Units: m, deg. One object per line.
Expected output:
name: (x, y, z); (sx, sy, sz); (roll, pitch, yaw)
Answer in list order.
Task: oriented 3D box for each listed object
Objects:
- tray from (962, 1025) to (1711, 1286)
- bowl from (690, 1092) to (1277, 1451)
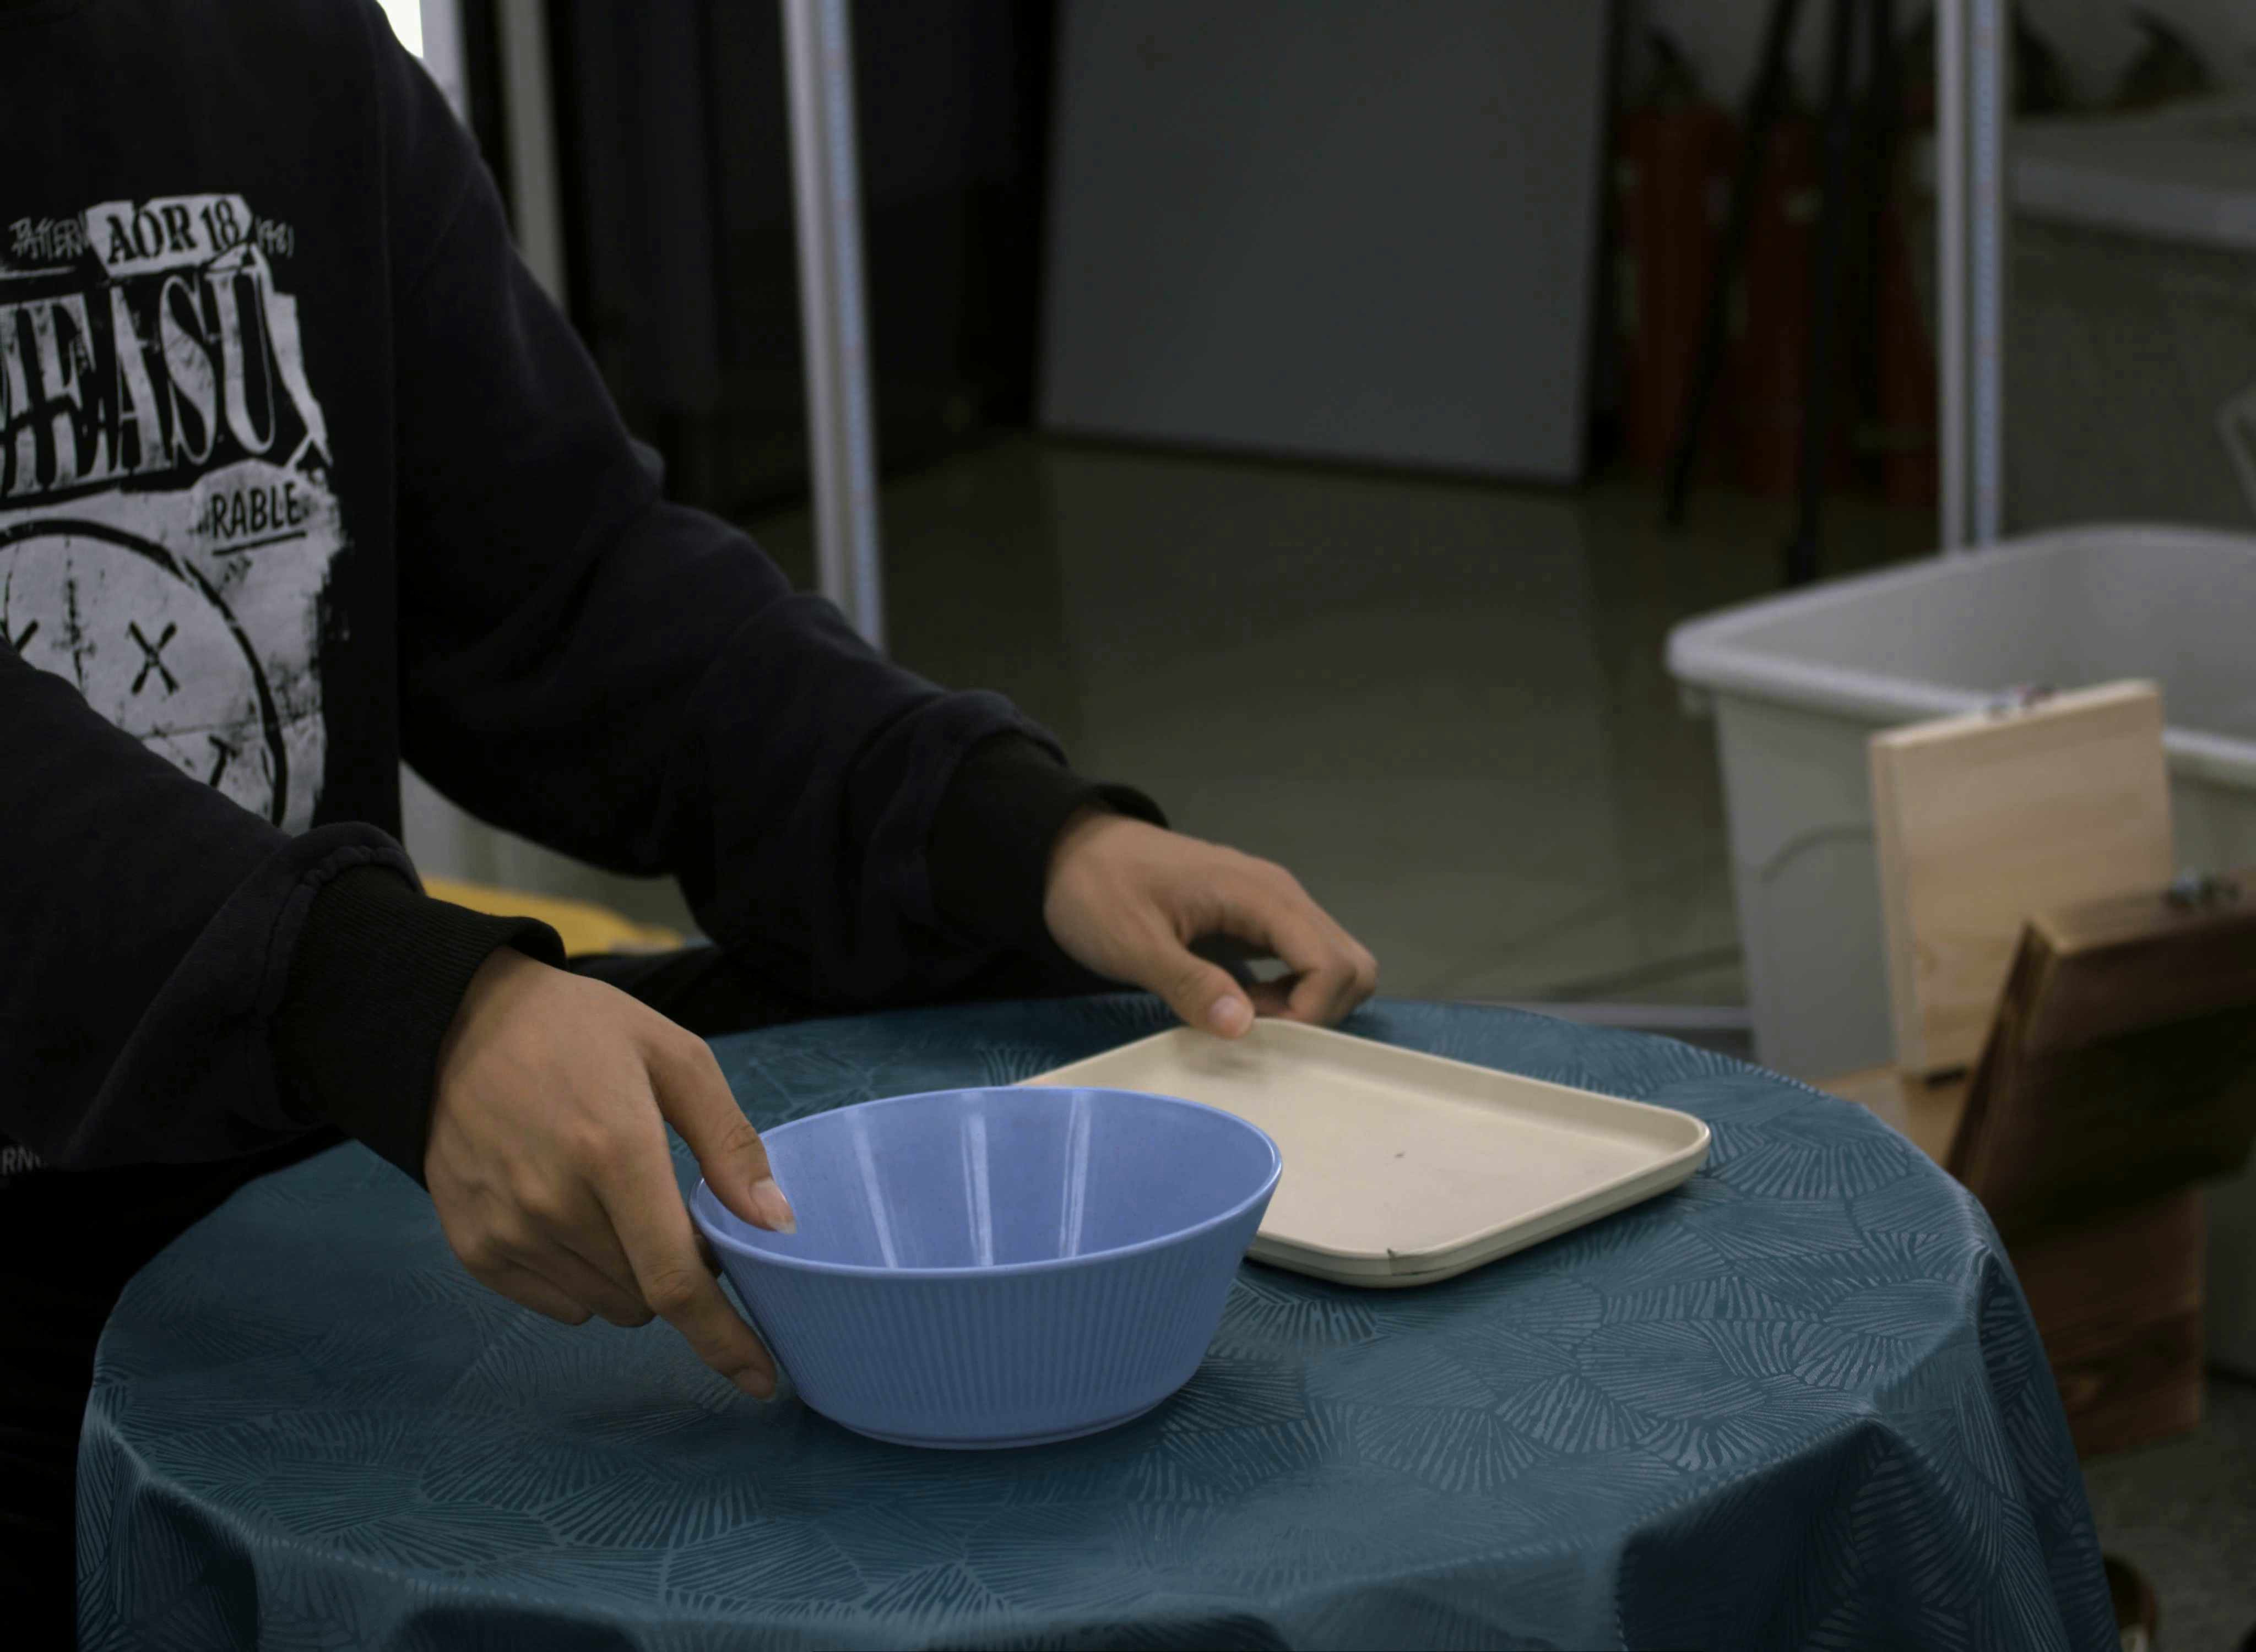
tray: (0.061, 0.107, 1.772); (0.167, 0.017, 0.242); (-15, 18, -41)
bowl: (-0.040, 0.133, 1.586); (0.174, 0.071, 0.176); (-4, 13, 0)
